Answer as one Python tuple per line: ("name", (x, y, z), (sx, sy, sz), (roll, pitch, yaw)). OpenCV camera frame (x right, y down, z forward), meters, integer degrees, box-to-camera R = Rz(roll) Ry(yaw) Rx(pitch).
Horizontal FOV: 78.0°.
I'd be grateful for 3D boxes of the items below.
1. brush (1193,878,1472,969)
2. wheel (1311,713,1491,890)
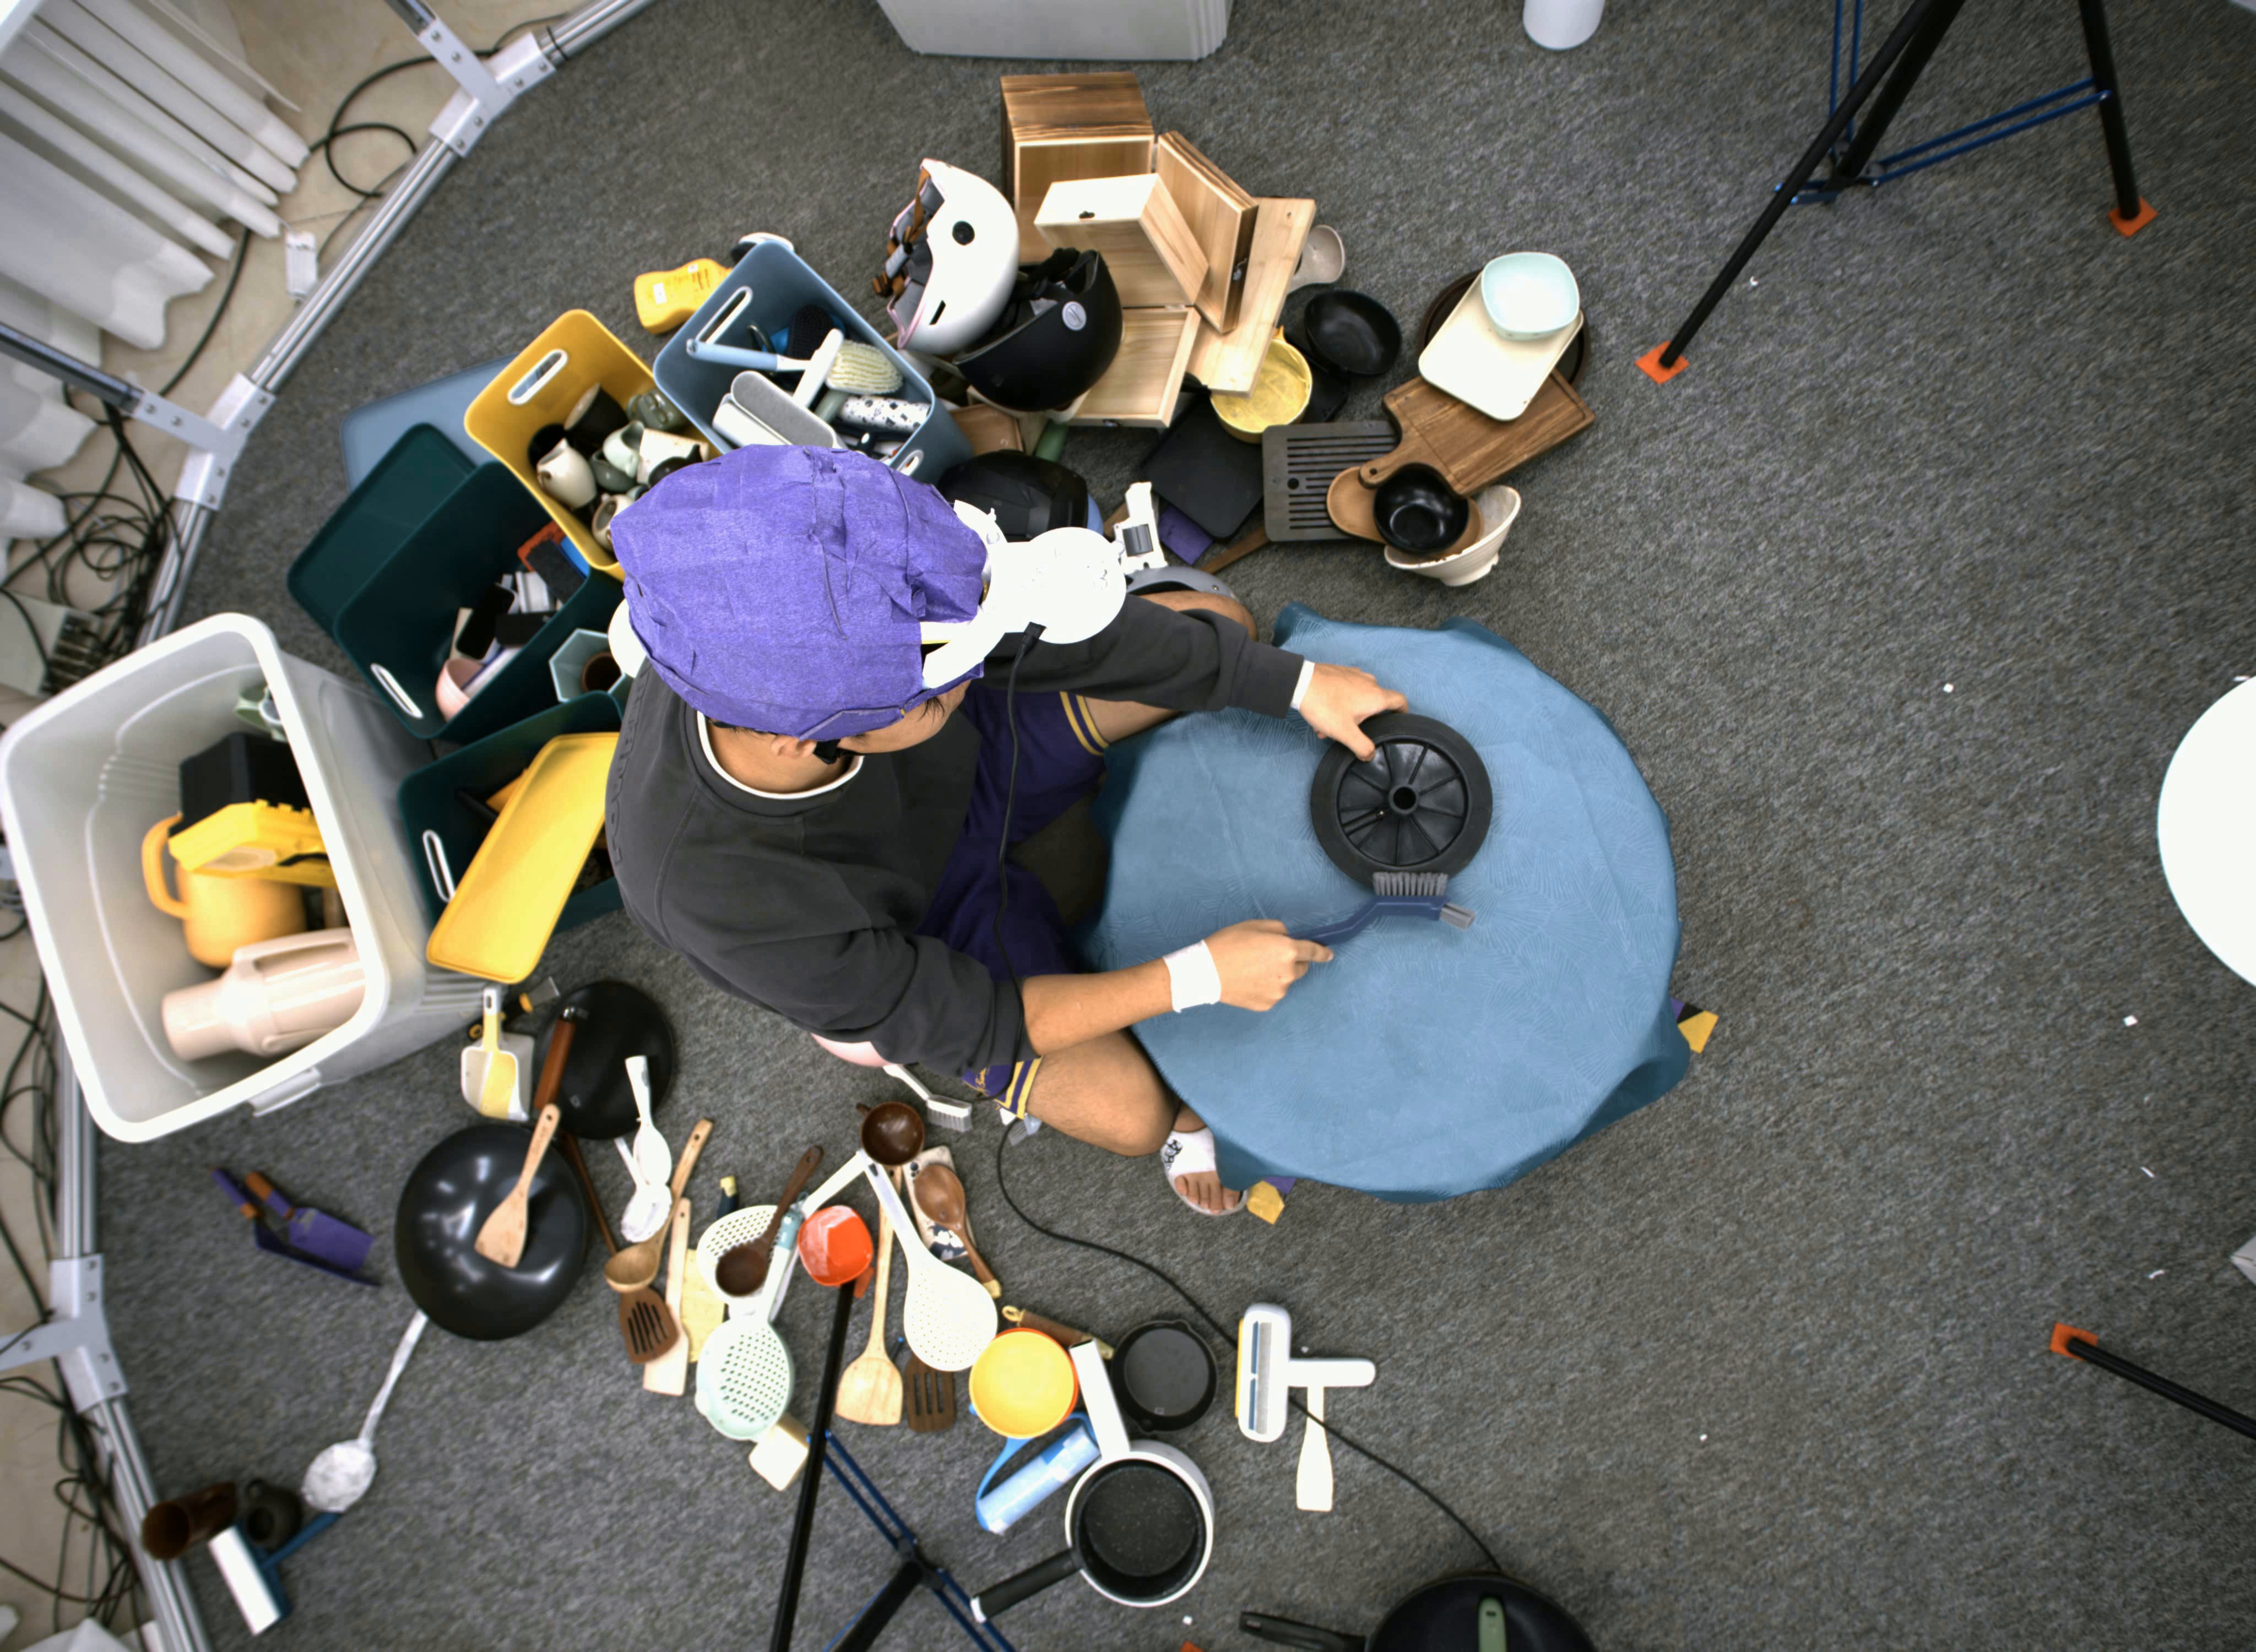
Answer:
("brush", (0.204, 0.114, 1.395), (0.273, 0.034, 0.094), (-20, 62, -5))
("wheel", (0.282, -0.026, 1.423), (0.187, 0.079, 0.191), (40, 96, 6))
